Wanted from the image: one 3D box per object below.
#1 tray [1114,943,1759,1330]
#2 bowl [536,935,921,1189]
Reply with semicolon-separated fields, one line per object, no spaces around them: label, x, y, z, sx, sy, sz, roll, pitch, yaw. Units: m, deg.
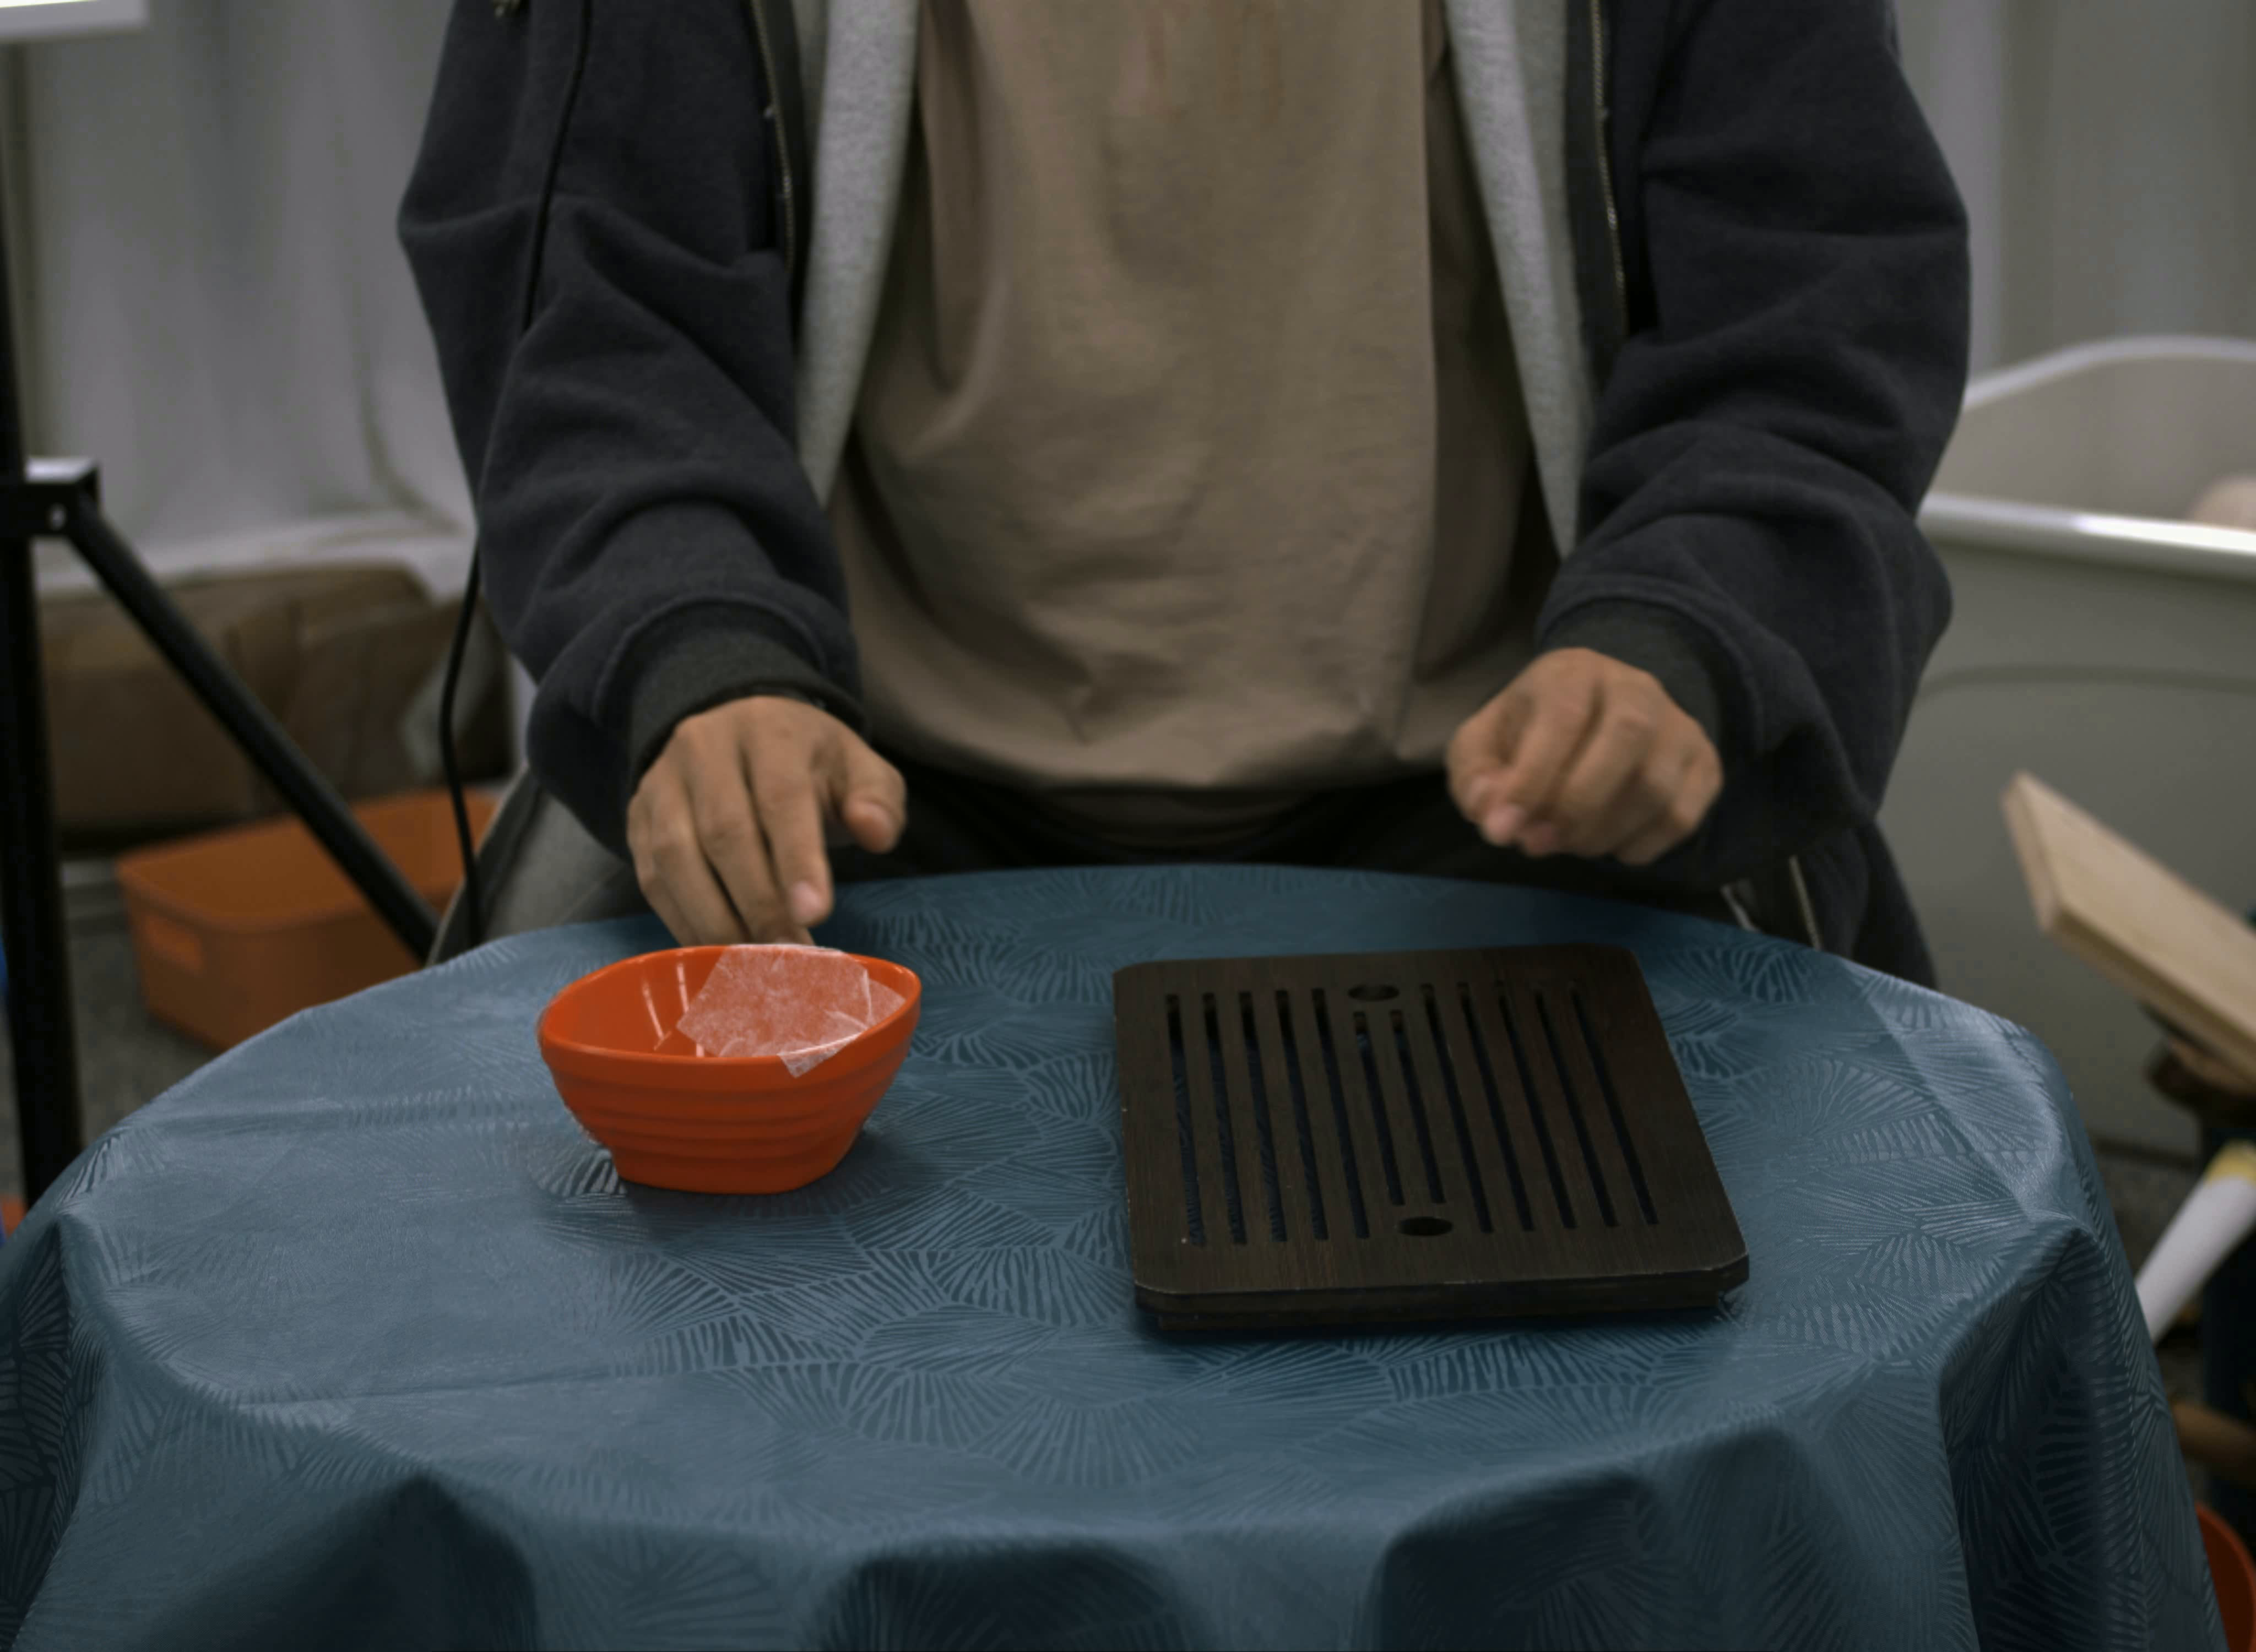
tray;0.084;0.090;1.577;0.169;0.018;0.307;-3;16;0
bowl;-0.118;0.073;1.602;0.118;0.051;0.119;-4;17;0
